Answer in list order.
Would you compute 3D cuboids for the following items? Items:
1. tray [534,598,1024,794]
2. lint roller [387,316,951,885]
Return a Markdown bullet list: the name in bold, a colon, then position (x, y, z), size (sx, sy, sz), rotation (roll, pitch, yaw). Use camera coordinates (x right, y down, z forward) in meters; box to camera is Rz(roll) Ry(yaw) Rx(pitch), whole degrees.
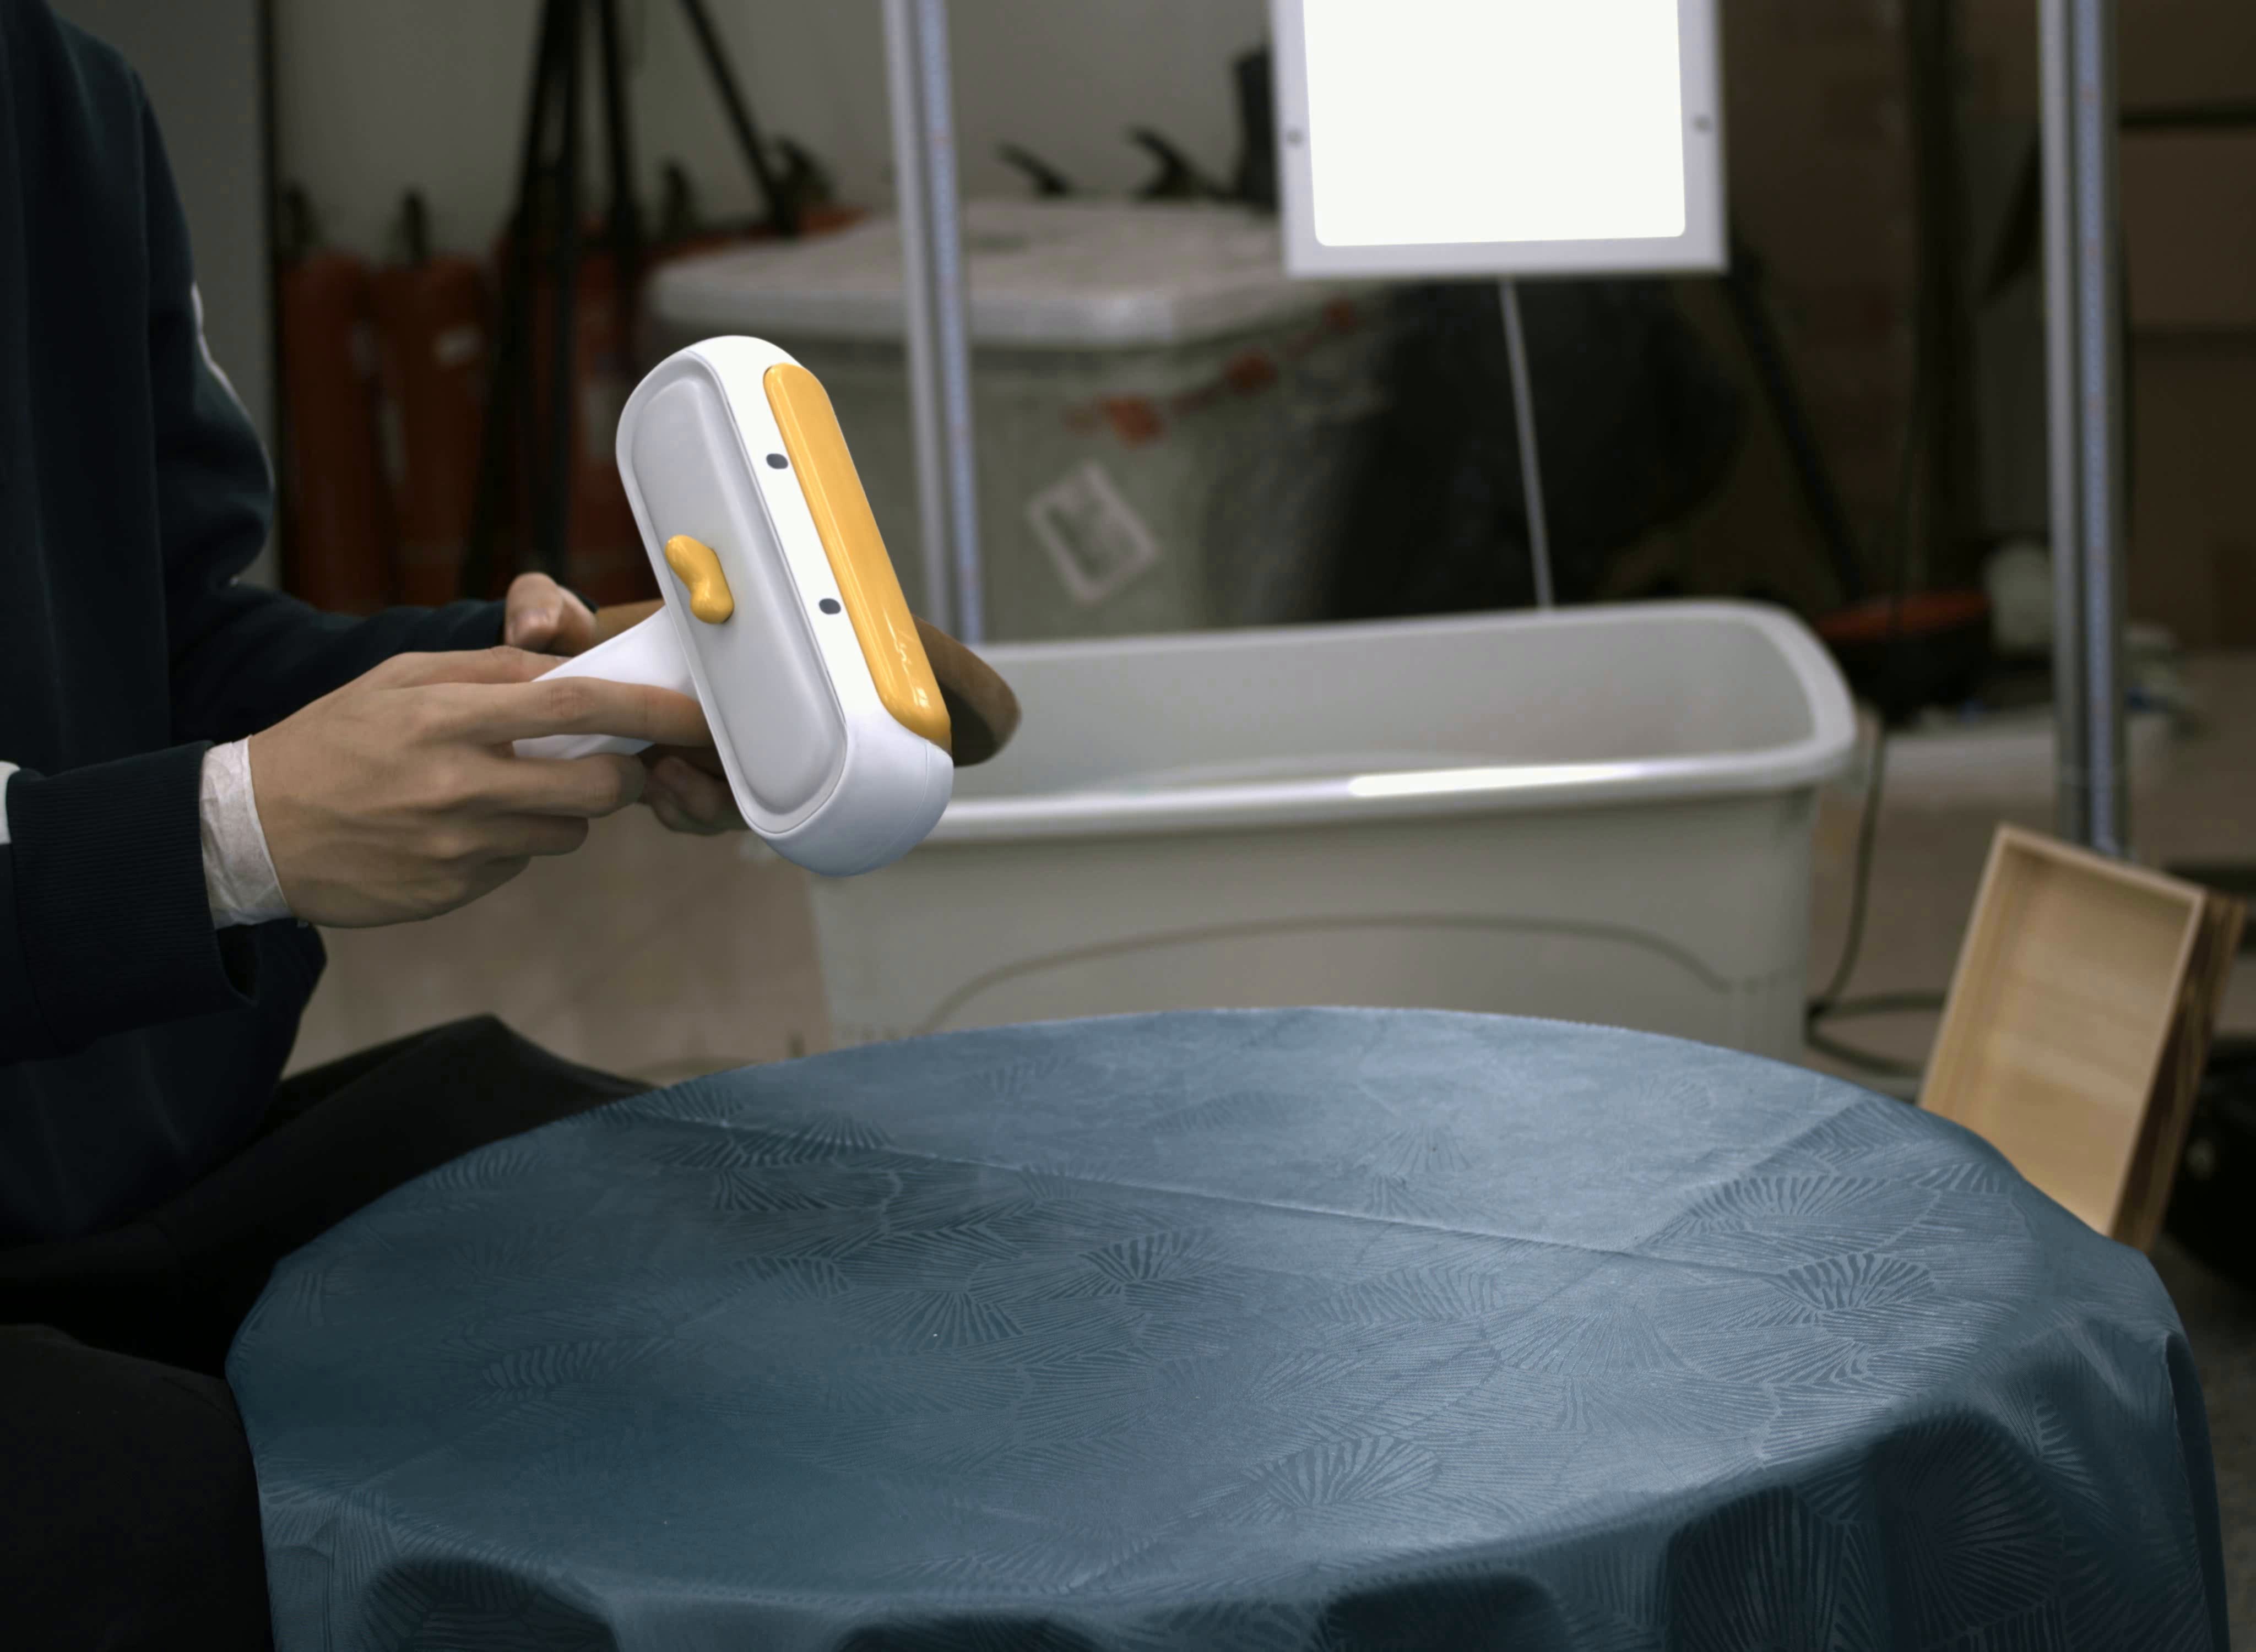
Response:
- **tray**: position (-0.125, -0.046, 1.914), size (0.100, 0.020, 0.236), rotation (37, -23, -30)
- **lint roller**: position (-0.161, -0.046, 1.807), size (0.195, 0.194, 0.072), rotation (-39, -27, 25)
